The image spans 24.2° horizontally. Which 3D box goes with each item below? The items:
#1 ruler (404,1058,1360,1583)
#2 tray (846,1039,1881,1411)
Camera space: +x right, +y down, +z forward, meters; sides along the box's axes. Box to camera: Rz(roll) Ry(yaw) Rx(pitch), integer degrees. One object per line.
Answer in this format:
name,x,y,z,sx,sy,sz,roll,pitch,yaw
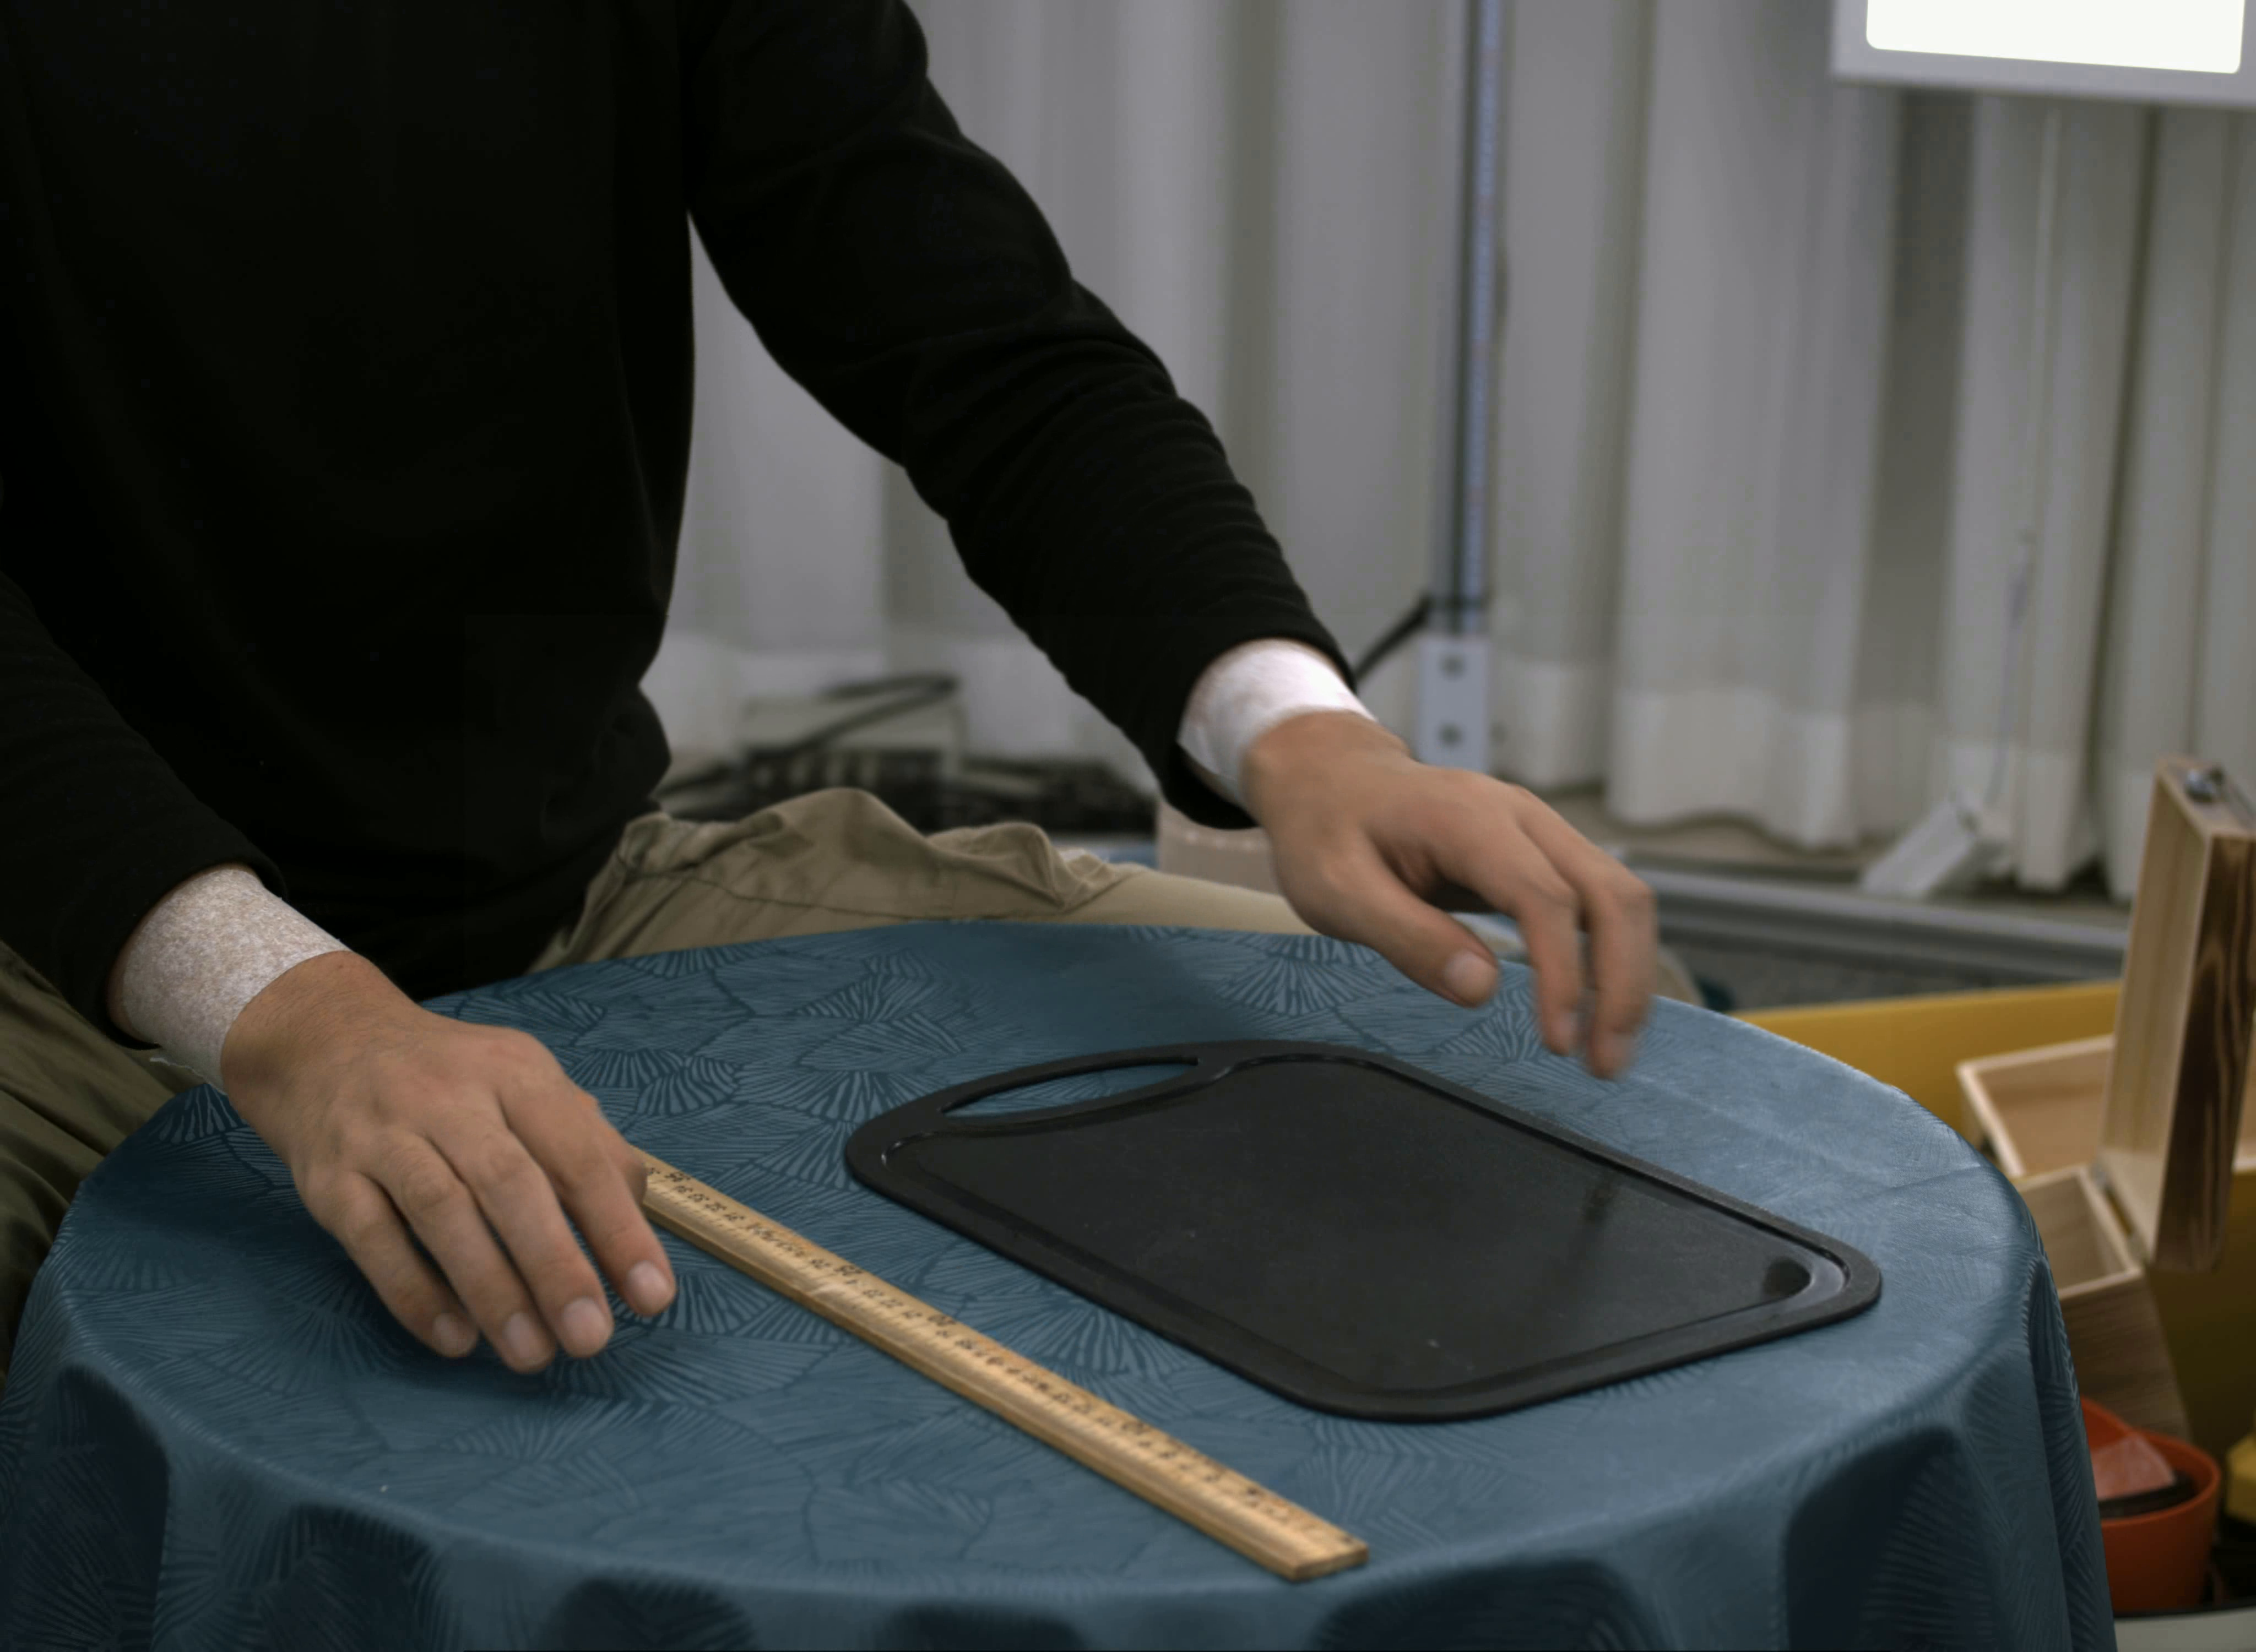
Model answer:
ruler,-0.088,0.133,1.533,0.027,0.006,0.494,-7,17,-34
tray,0.061,0.114,1.604,0.212,0.010,0.321,-10,19,-34
